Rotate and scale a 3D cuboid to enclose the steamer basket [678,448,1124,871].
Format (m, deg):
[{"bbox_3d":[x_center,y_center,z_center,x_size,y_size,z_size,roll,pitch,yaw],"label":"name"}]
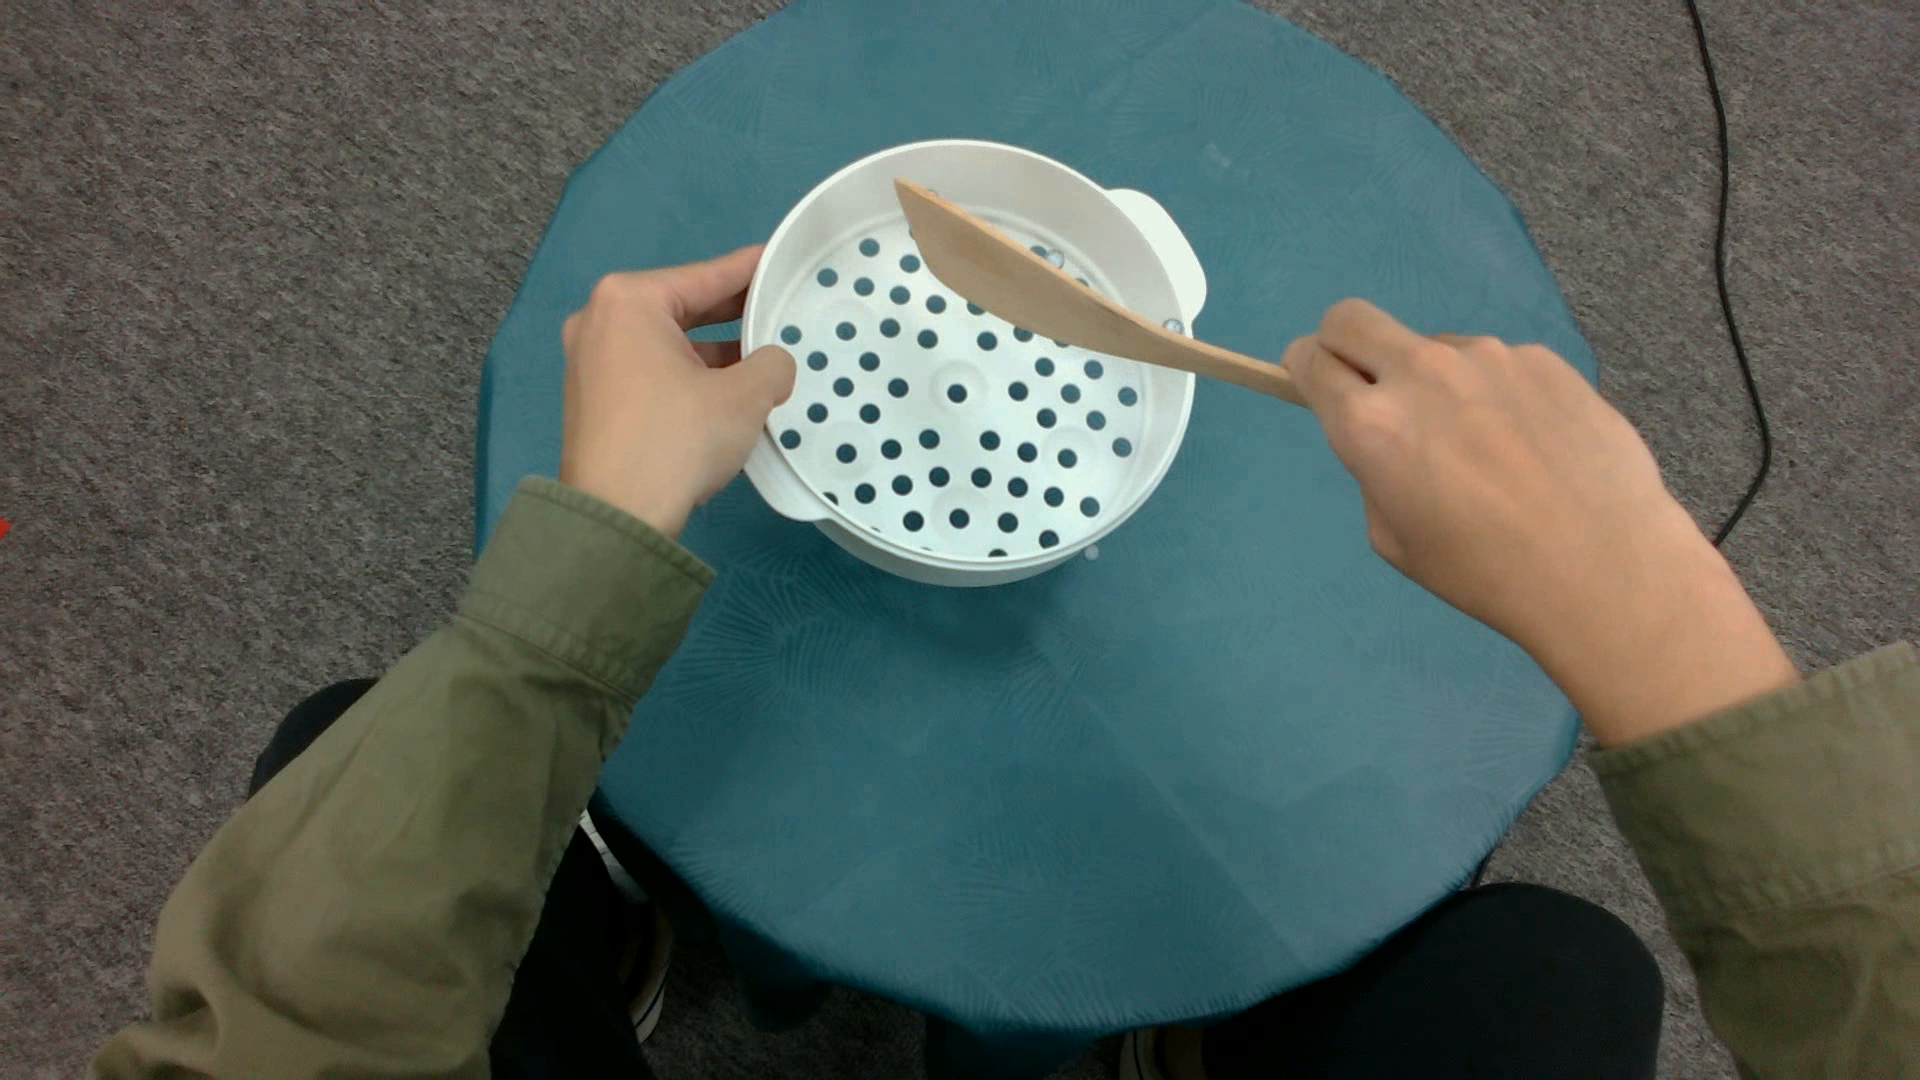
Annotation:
[{"bbox_3d":[-0.025,0.057,0.660,0.231,0.069,0.202,-36,71,-20],"label":"steamer basket"}]

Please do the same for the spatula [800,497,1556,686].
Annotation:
[{"bbox_3d":[0.068,0.022,0.560,0.327,0.080,0.016,8,62,31],"label":"spatula"}]
